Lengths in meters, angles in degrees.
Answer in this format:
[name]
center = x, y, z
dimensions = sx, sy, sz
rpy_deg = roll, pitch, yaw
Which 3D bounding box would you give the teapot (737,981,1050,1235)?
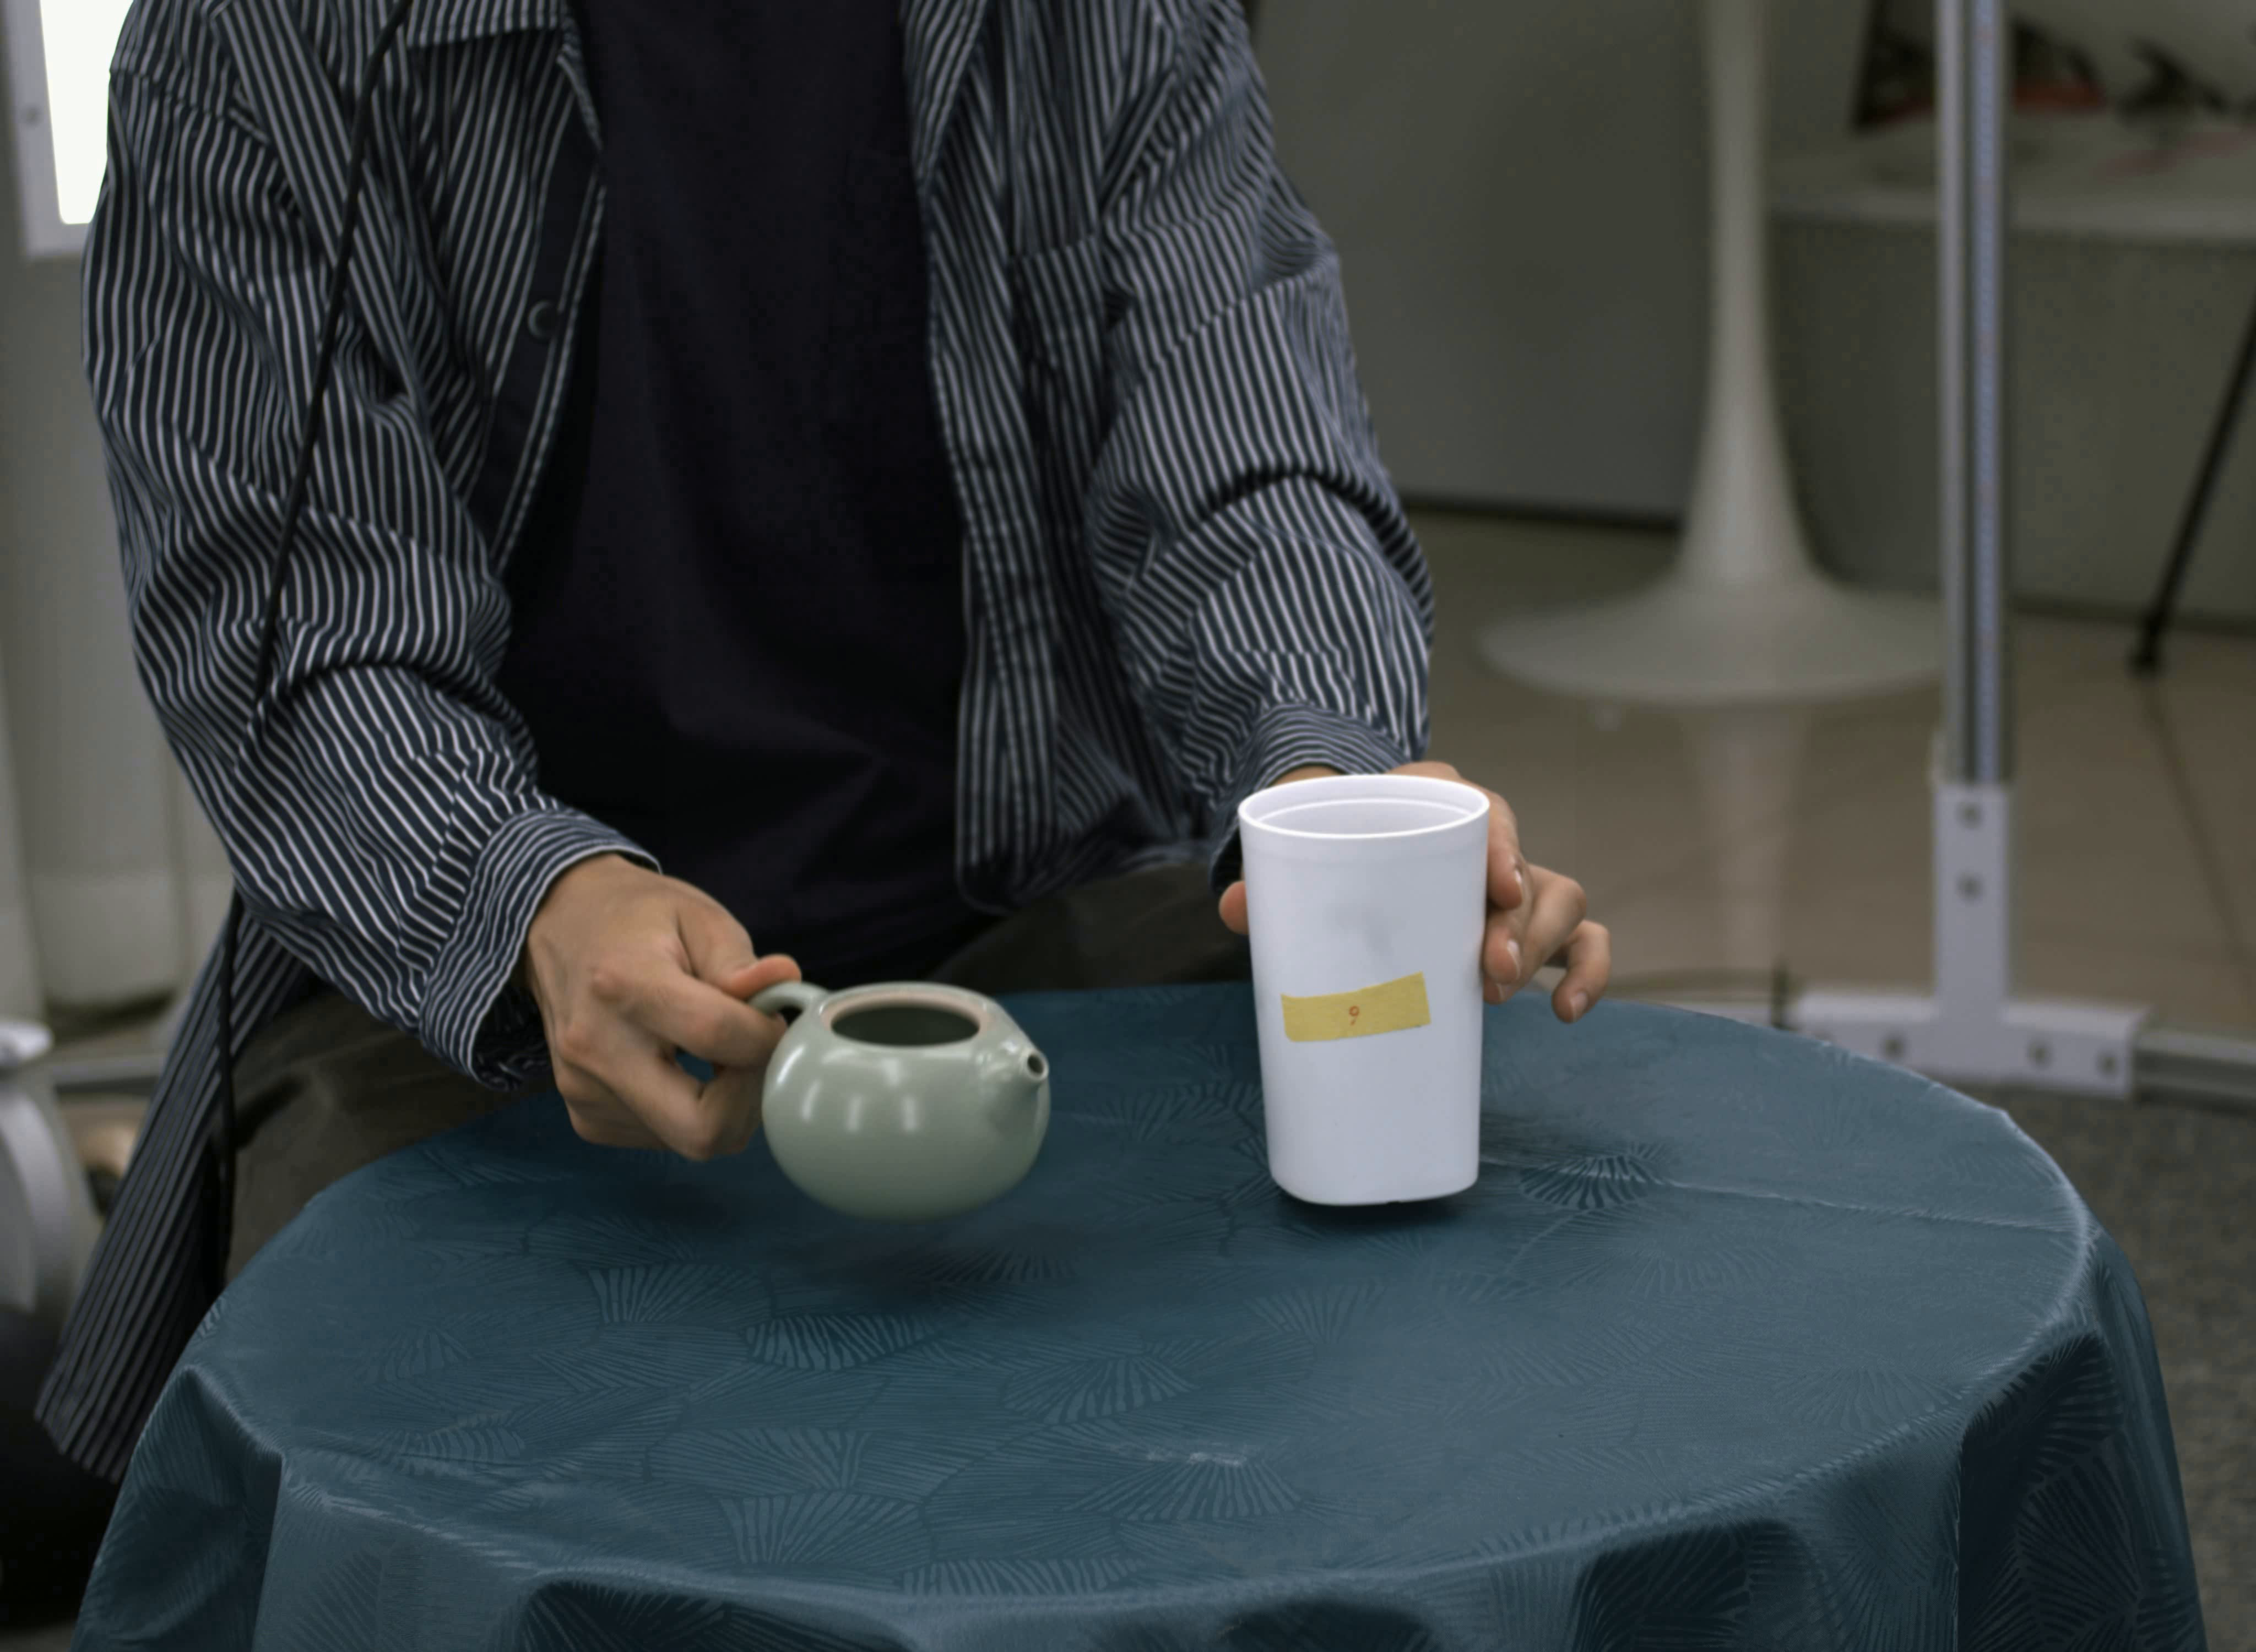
[teapot]
center = -0.076, 0.086, 1.691
dimensions = 0.129, 0.061, 0.090
rpy_deg = 18, 27, 40

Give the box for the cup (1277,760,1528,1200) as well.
[cup]
center = 0.090, 0.050, 1.724
dimensions = 0.080, 0.127, 0.082
rpy_deg = -2, 13, 0
